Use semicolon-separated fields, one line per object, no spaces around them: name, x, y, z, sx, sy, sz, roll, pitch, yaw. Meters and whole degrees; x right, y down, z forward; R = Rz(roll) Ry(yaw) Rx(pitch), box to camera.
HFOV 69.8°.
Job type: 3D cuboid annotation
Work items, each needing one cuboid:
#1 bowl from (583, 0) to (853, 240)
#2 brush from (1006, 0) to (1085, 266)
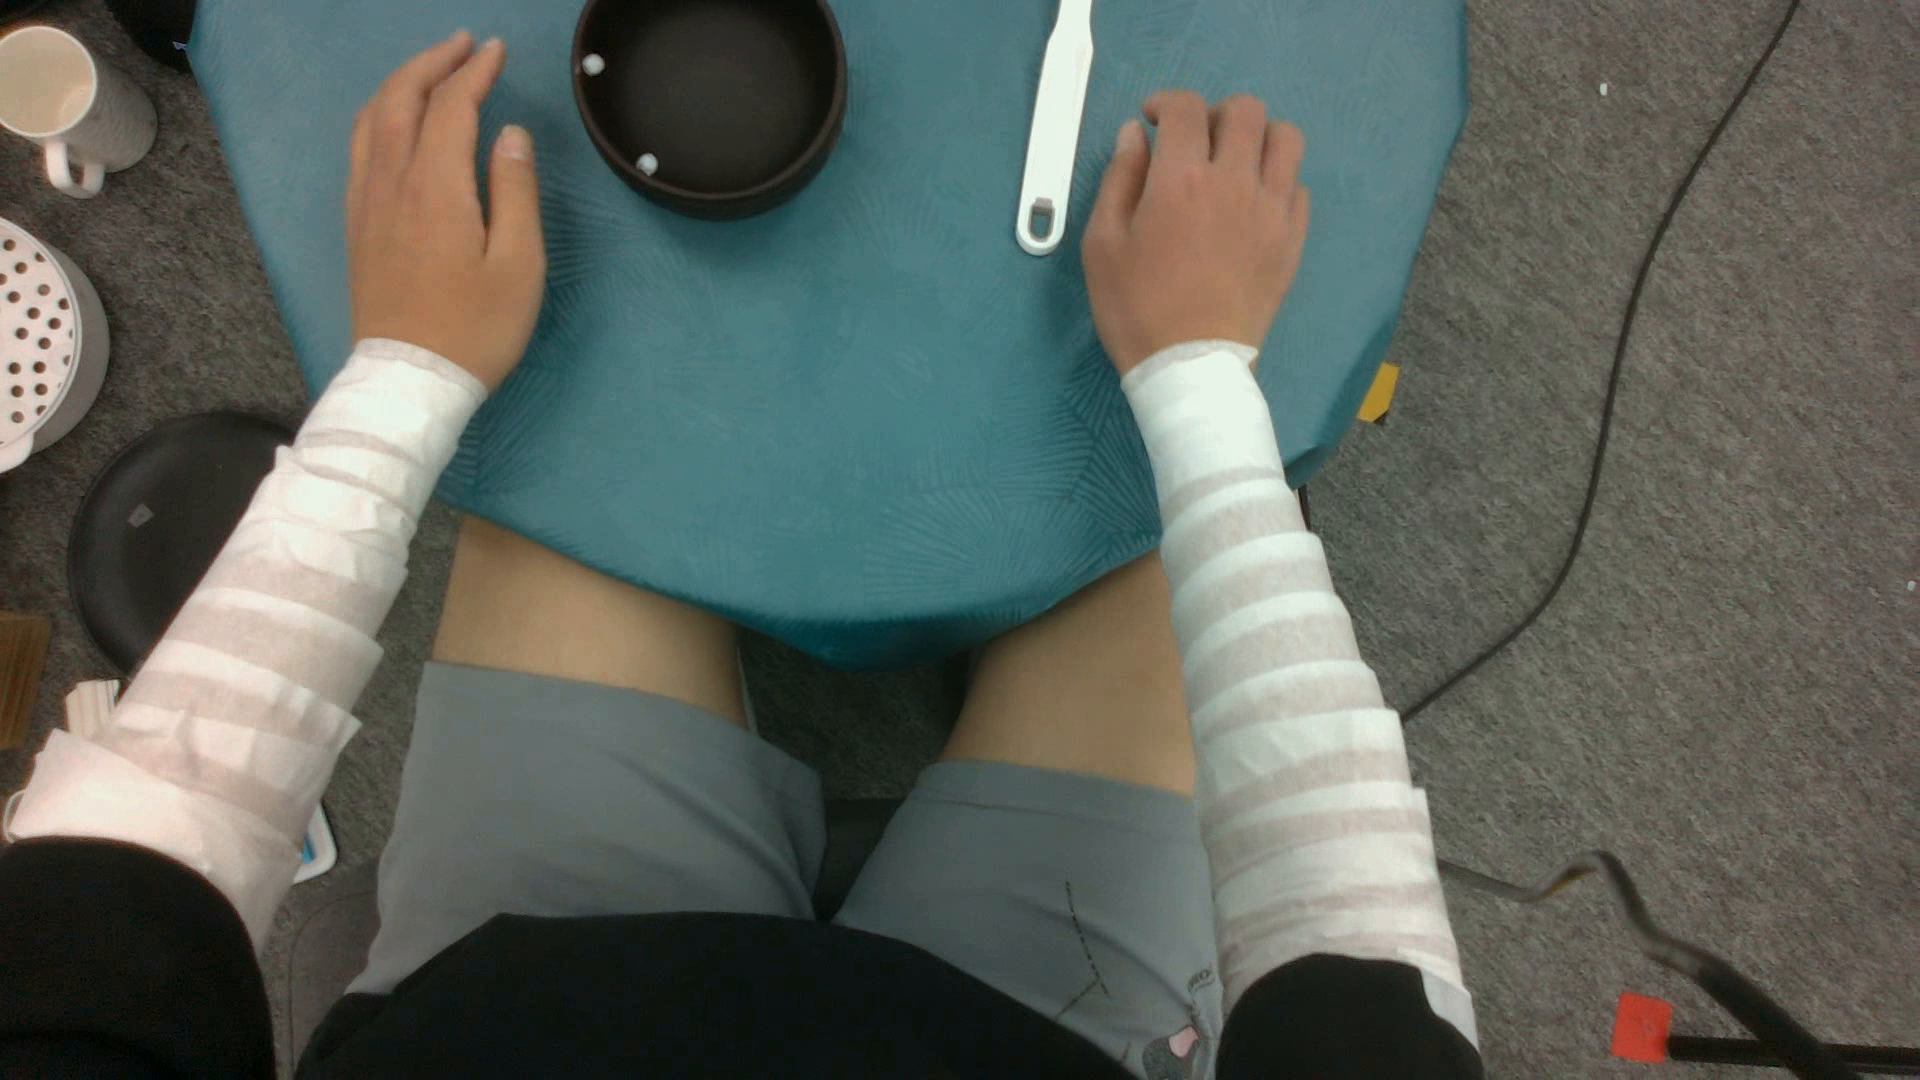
bowl;-0.108;-0.195;0.631;0.118;0.070;0.118;0;89;-6
brush;0.053;-0.255;0.661;0.034;0.050;0.244;10;86;-4
